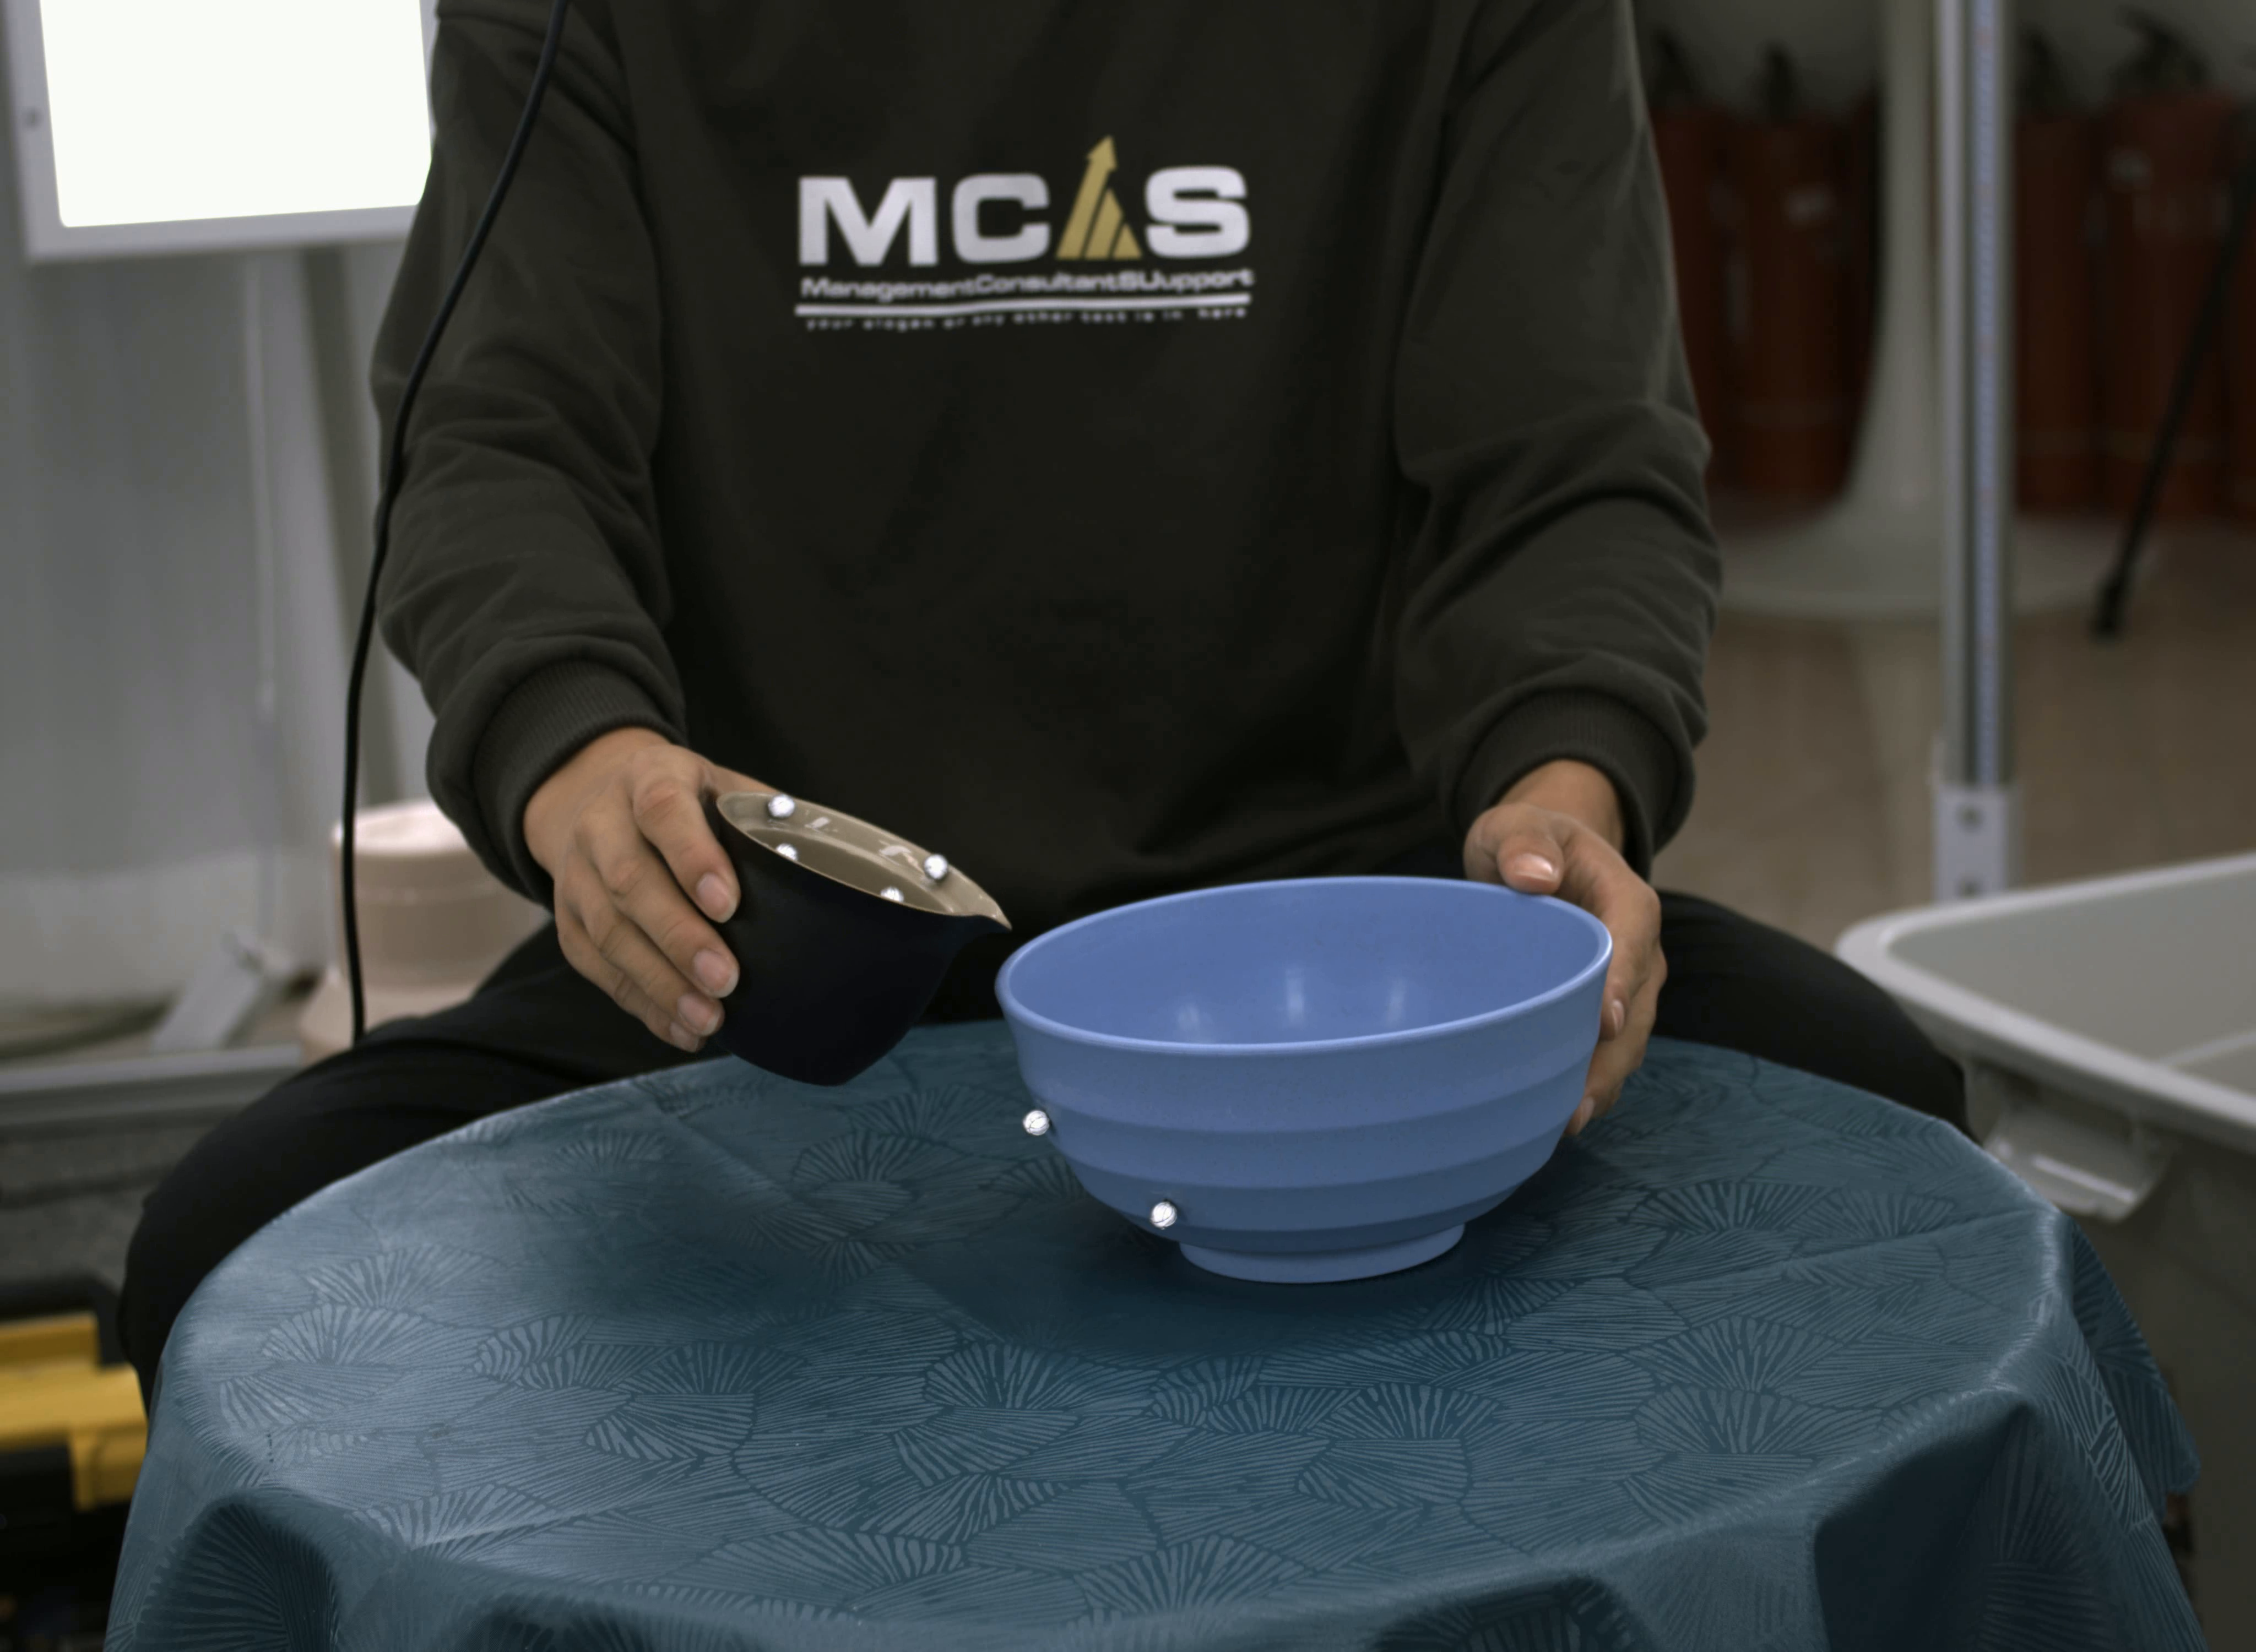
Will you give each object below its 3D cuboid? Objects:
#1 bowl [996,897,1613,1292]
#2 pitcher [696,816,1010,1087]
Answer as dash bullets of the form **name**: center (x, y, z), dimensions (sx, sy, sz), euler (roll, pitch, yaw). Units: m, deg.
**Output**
- **bowl**: center (0.058, 0.089, 1.702), dimensions (0.194, 0.096, 0.197), euler (-4, 11, 0)
- **pitcher**: center (-0.093, 0.041, 1.703), dimensions (0.095, 0.072, 0.083), euler (21, 10, -2)
